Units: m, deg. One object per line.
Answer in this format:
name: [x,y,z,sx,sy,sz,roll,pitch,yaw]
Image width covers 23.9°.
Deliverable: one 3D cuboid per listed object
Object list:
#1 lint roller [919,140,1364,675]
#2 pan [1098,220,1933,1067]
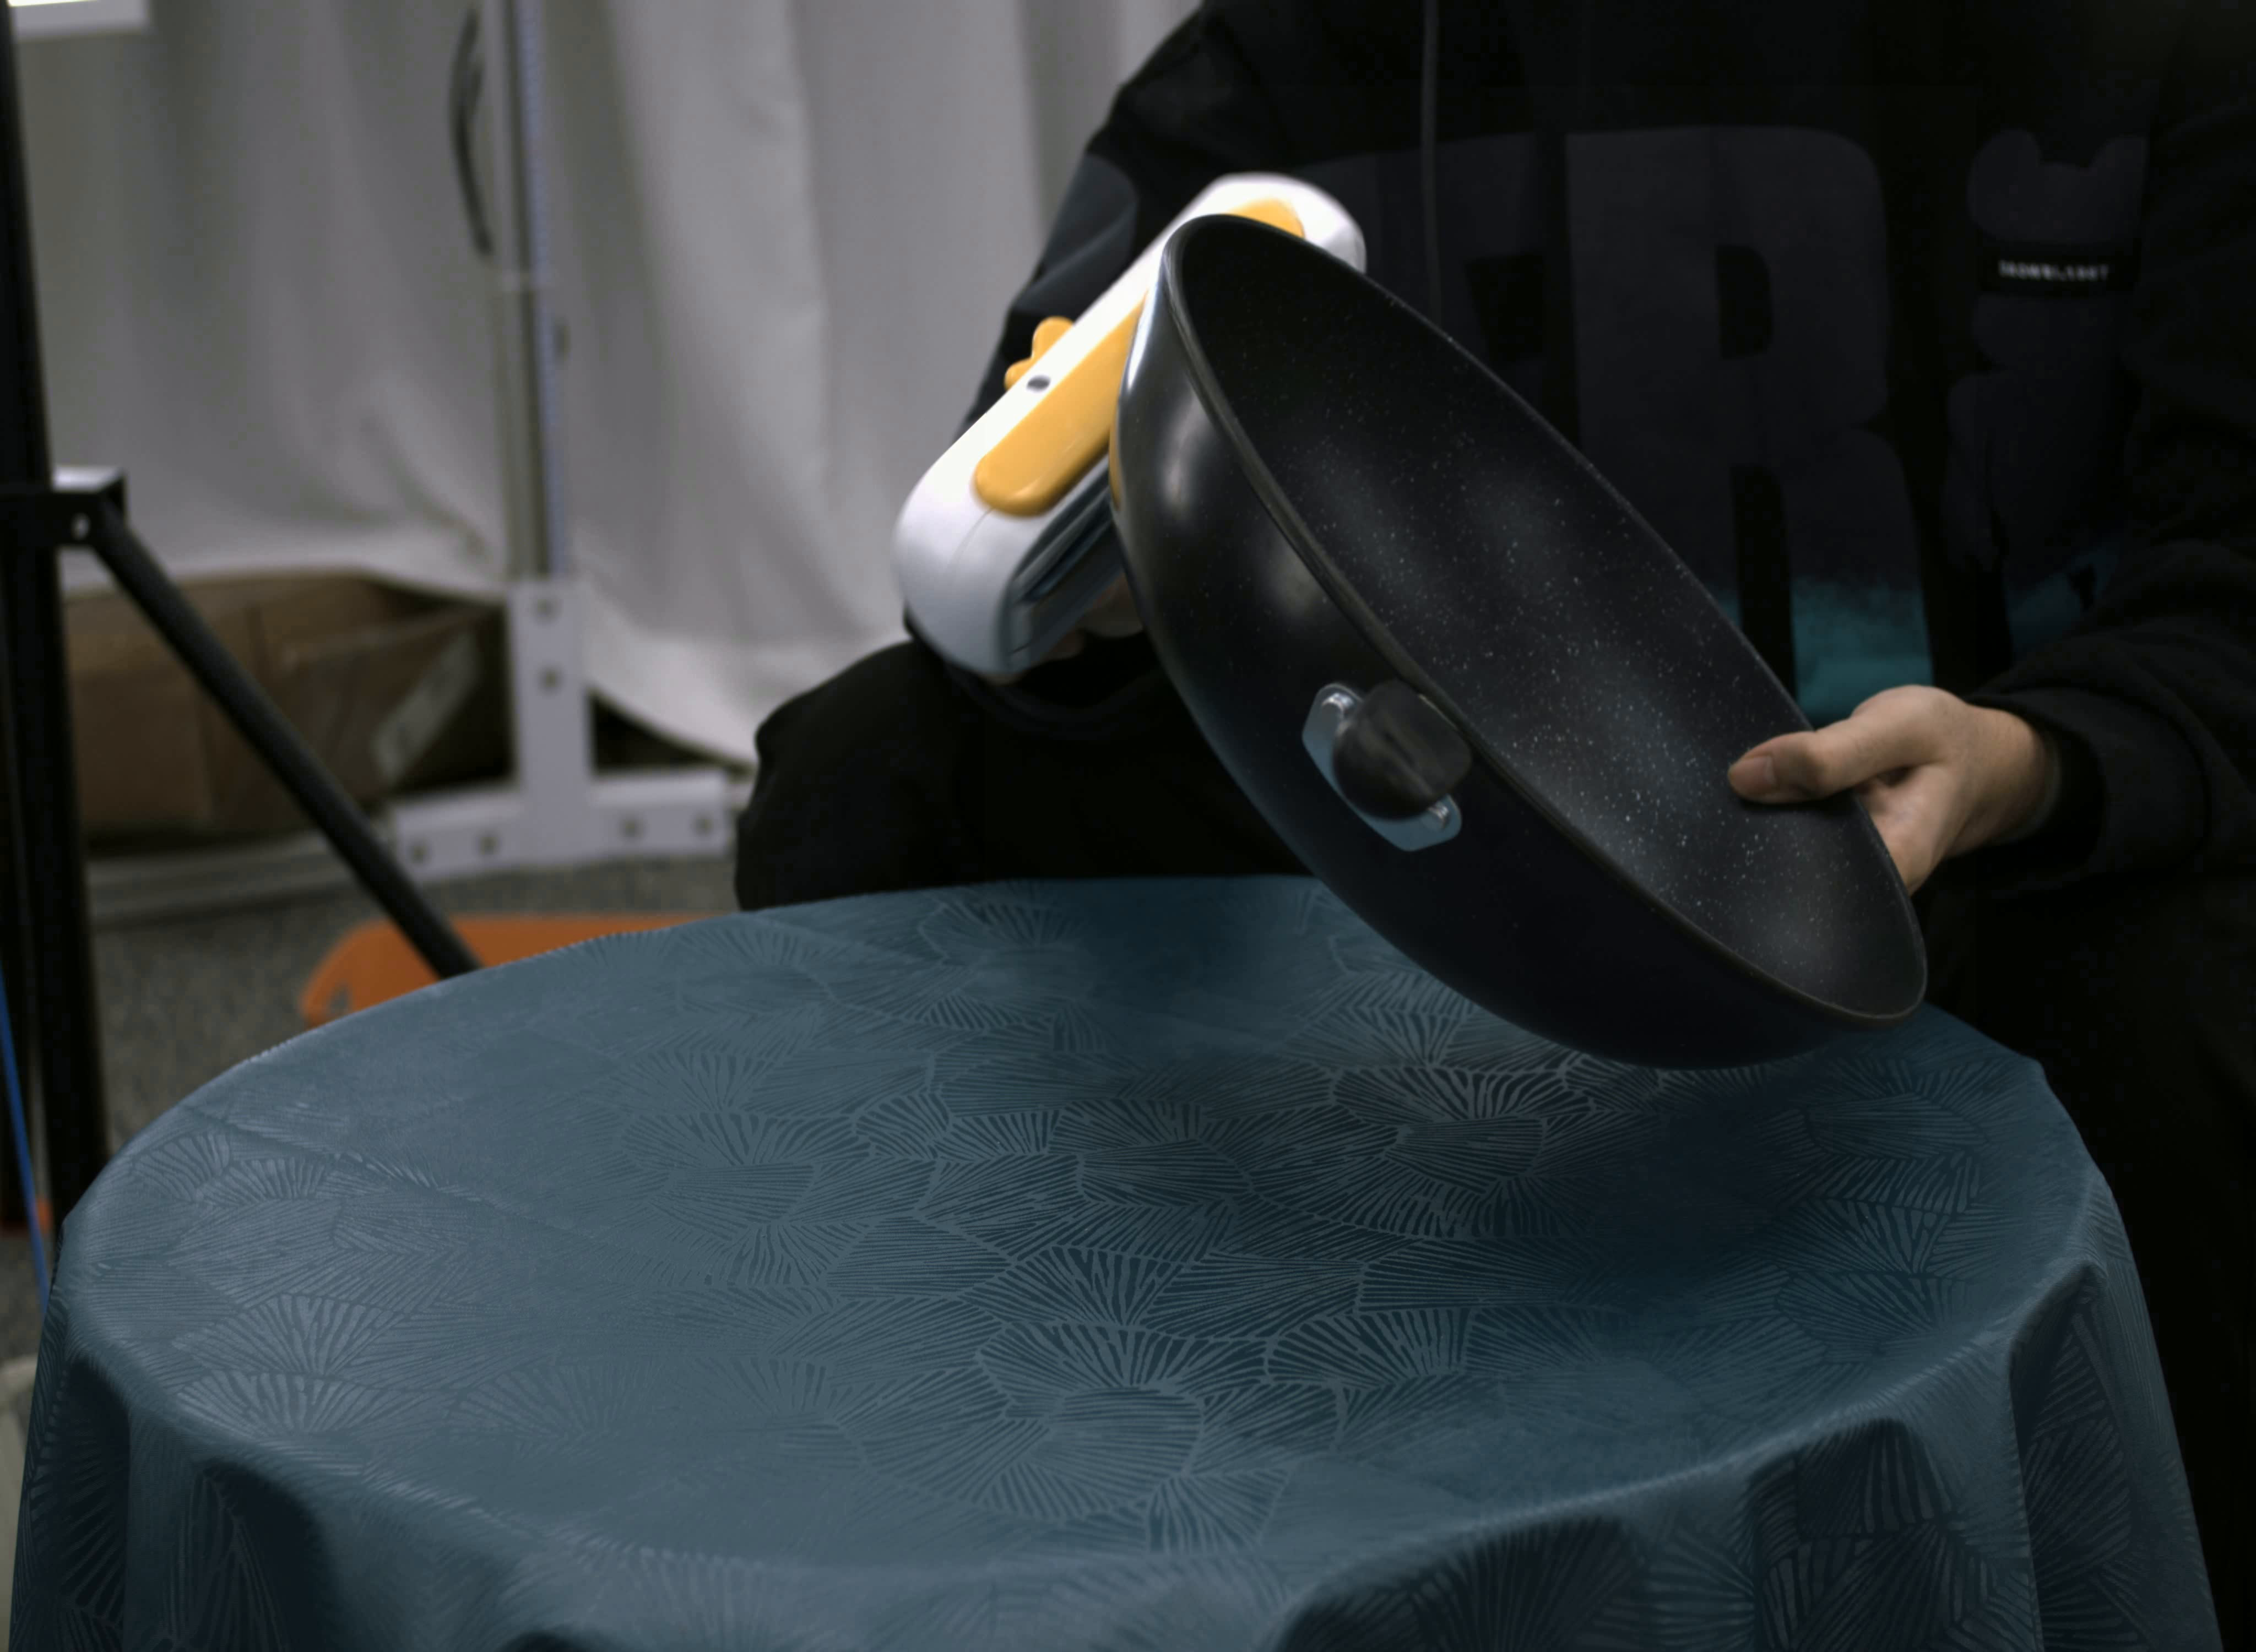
lint roller: [-0.008,-0.105,1.674,0.075,0.192,0.191,30,58,11]
pan: [0.082,-0.026,1.457,0.311,0.112,0.472,45,19,3]
